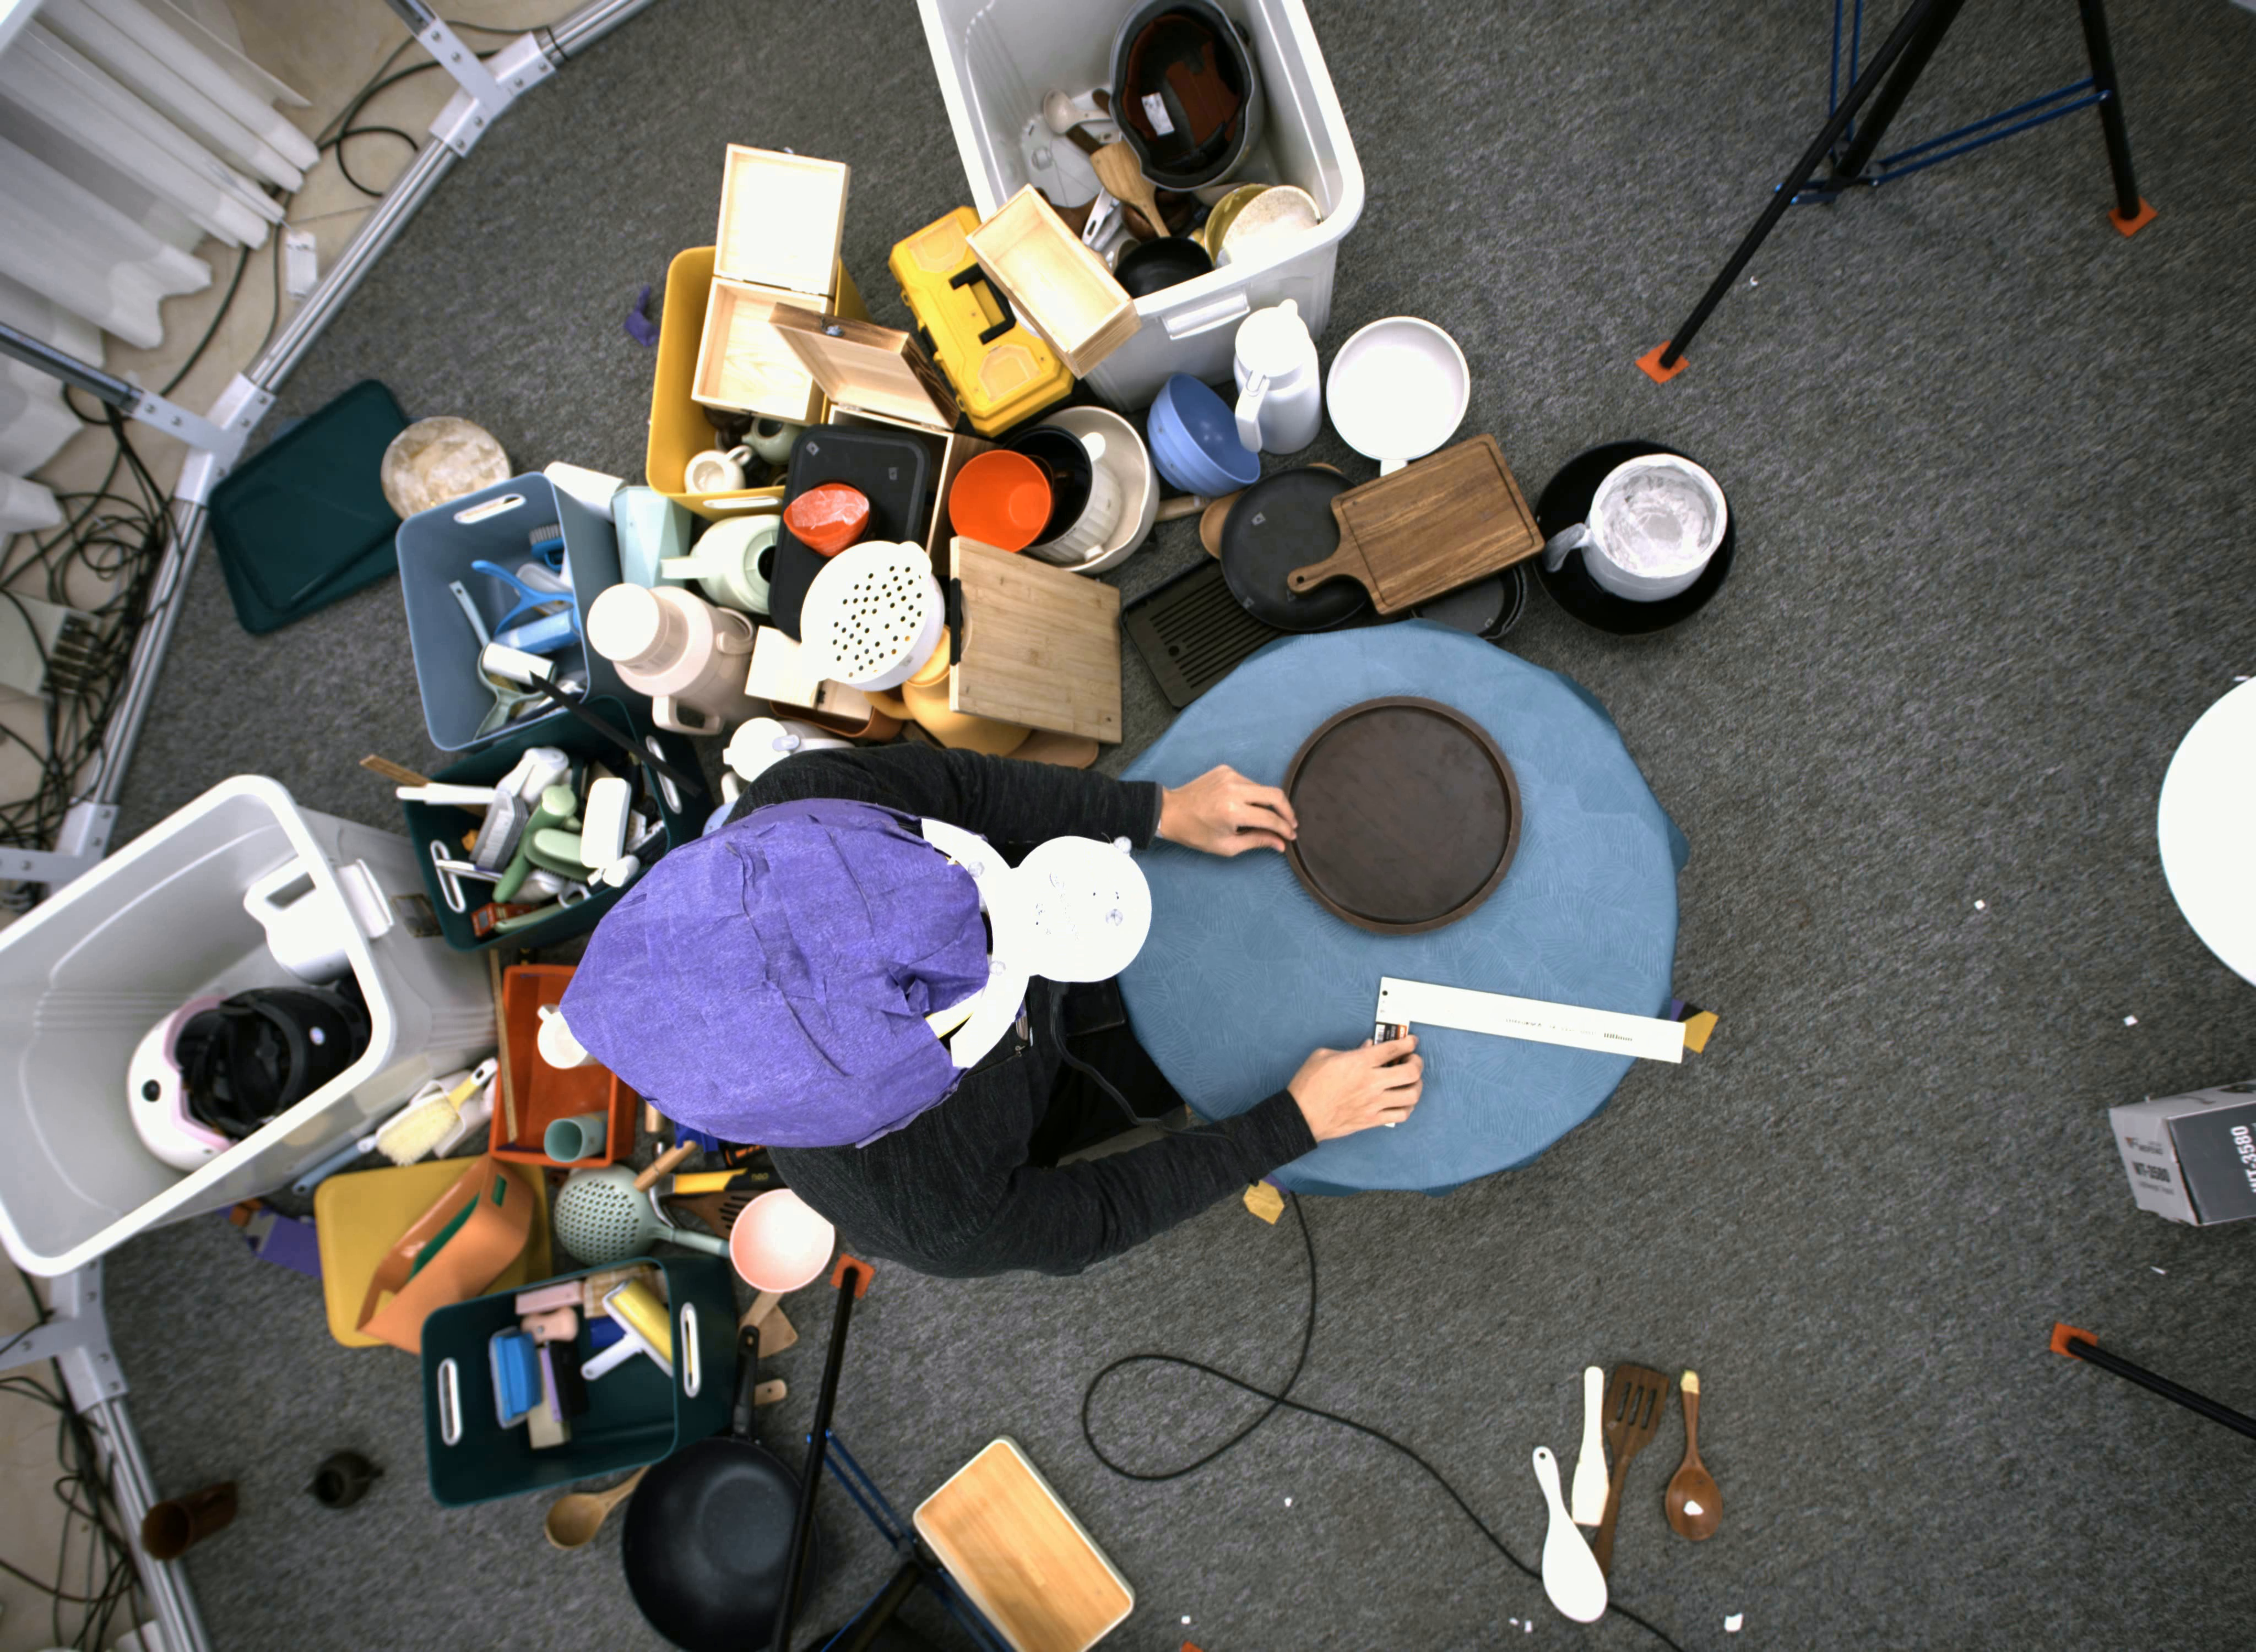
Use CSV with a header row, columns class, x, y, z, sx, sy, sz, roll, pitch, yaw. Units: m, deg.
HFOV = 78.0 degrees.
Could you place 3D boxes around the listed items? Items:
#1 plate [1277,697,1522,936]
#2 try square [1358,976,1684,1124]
class,x,y,z,sx,sy,sz,roll,pitch,yaw
plate,0.284,-0.011,1.450,0.256,0.029,0.254,-1,87,9
try square,0.403,0.250,1.421,0.313,0.016,0.152,8,88,10
